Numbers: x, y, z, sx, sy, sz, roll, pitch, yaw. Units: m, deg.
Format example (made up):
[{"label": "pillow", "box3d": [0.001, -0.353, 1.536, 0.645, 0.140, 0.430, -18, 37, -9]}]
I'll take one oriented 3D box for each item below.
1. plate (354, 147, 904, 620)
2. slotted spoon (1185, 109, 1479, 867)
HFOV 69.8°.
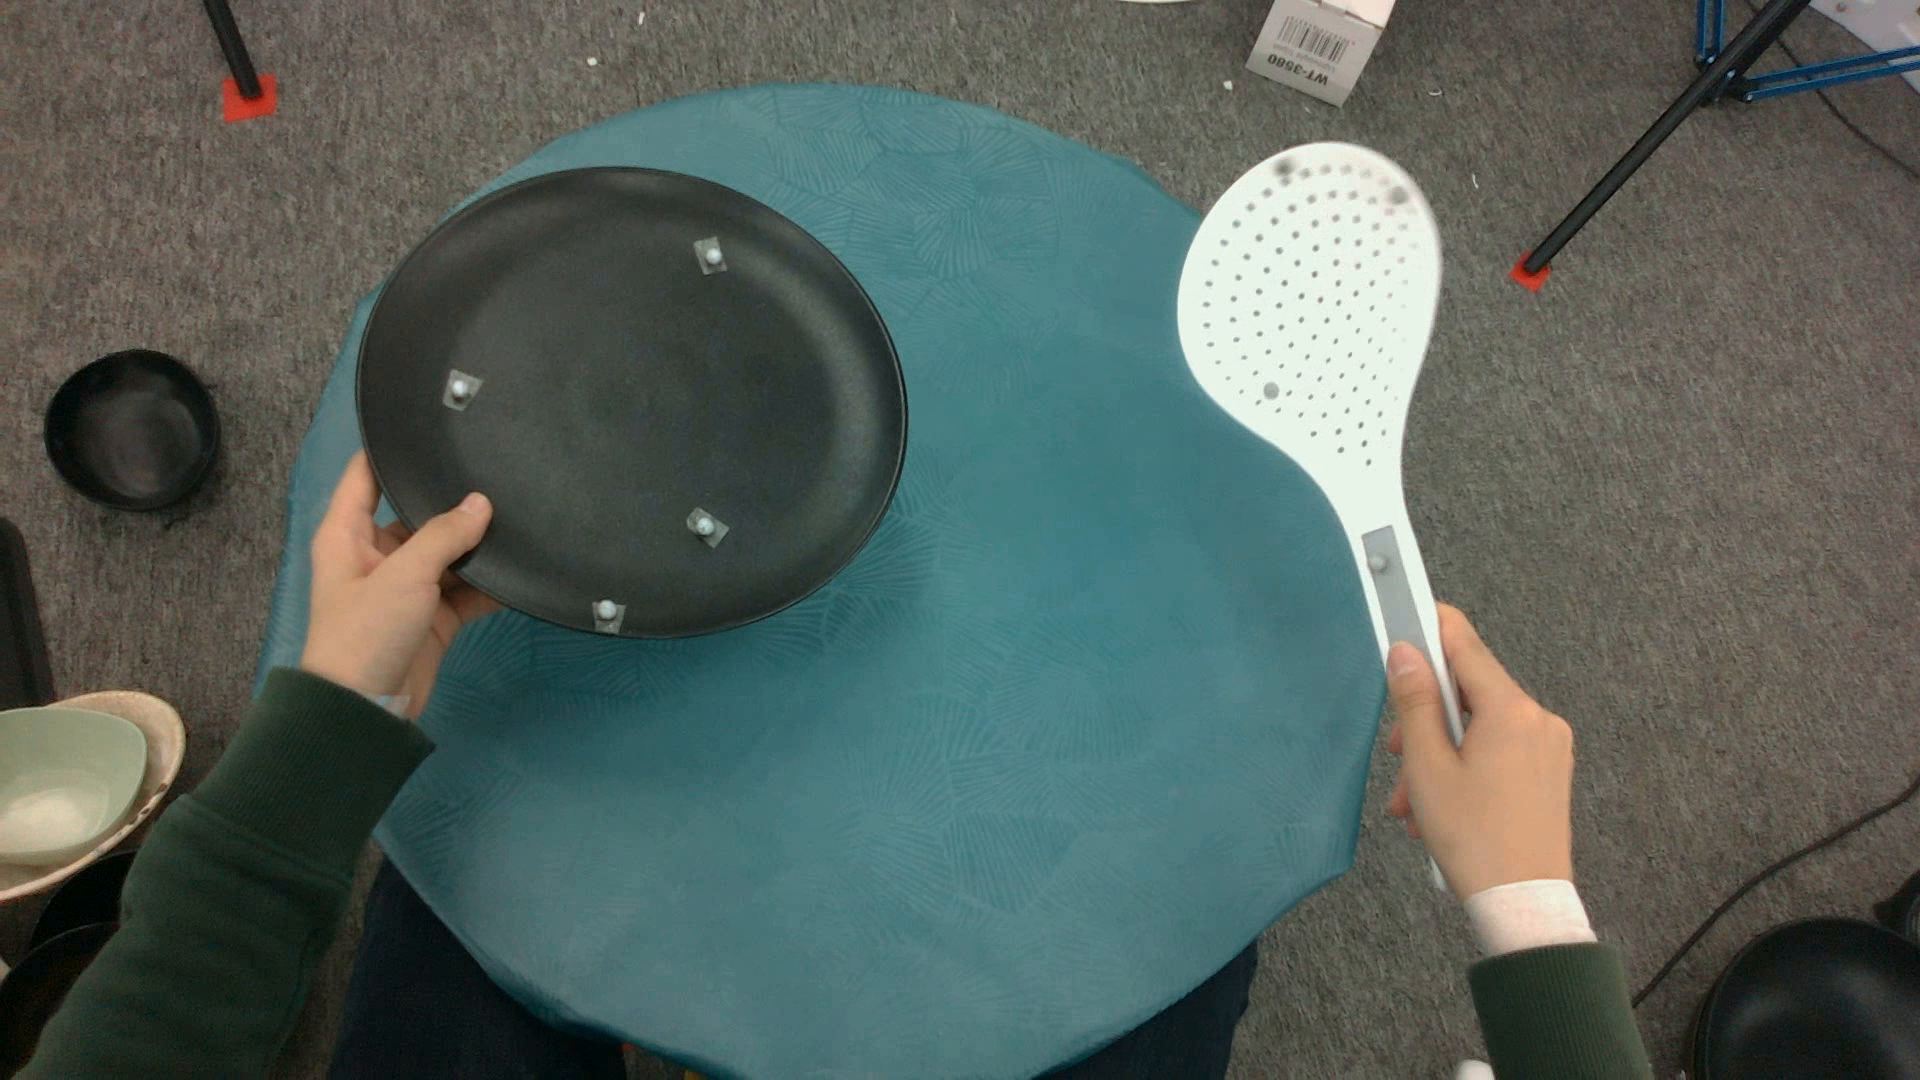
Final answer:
[{"label": "plate", "box3d": [-0.147, -0.075, 0.636, 0.244, 0.023, 0.245, 7, 66, -15]}, {"label": "slotted spoon", "box3d": [0.186, -0.032, 0.623, 0.135, 0.046, 0.350, -16, 68, 29]}]
